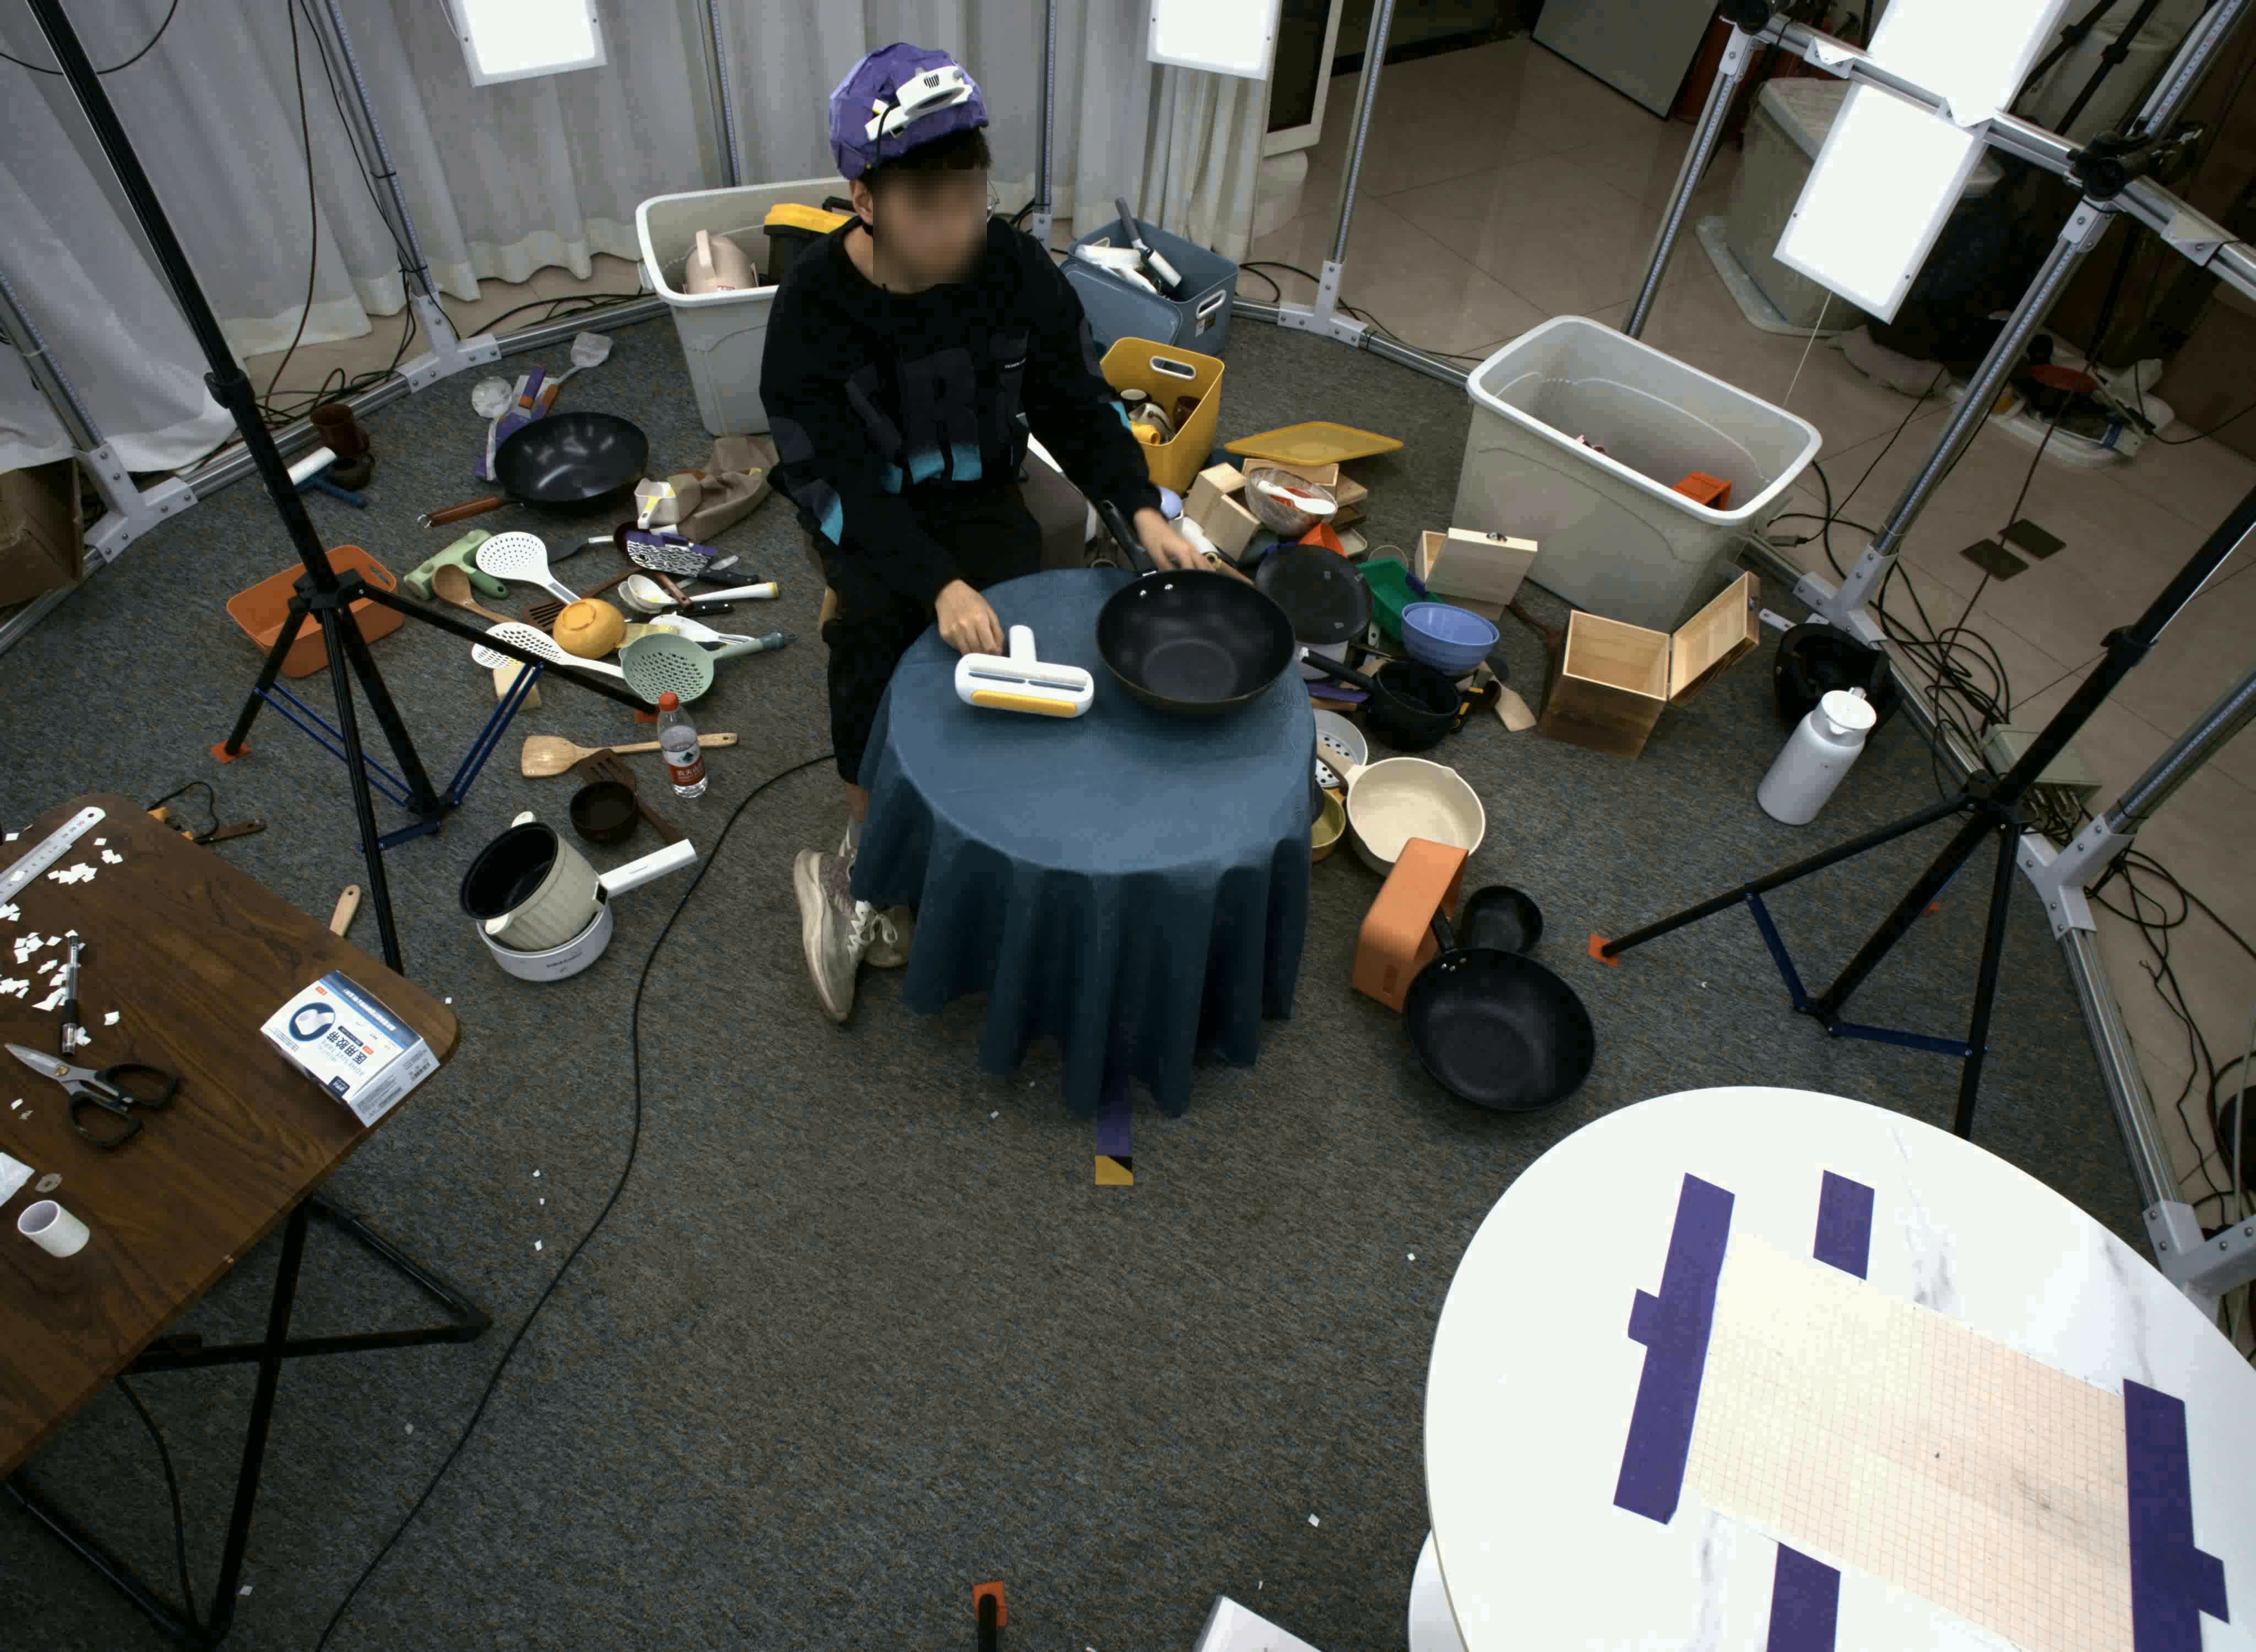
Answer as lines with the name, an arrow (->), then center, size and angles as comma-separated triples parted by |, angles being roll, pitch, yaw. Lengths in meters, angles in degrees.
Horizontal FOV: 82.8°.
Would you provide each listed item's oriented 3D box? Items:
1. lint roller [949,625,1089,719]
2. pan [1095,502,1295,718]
lint roller -> -0.151, -0.233, 1.817 | 0.192, 0.072, 0.197 | 6, 47, -6
pan -> 0.054, -0.312, 1.889 | 0.288, 0.085, 0.474 | -17, 52, -17
